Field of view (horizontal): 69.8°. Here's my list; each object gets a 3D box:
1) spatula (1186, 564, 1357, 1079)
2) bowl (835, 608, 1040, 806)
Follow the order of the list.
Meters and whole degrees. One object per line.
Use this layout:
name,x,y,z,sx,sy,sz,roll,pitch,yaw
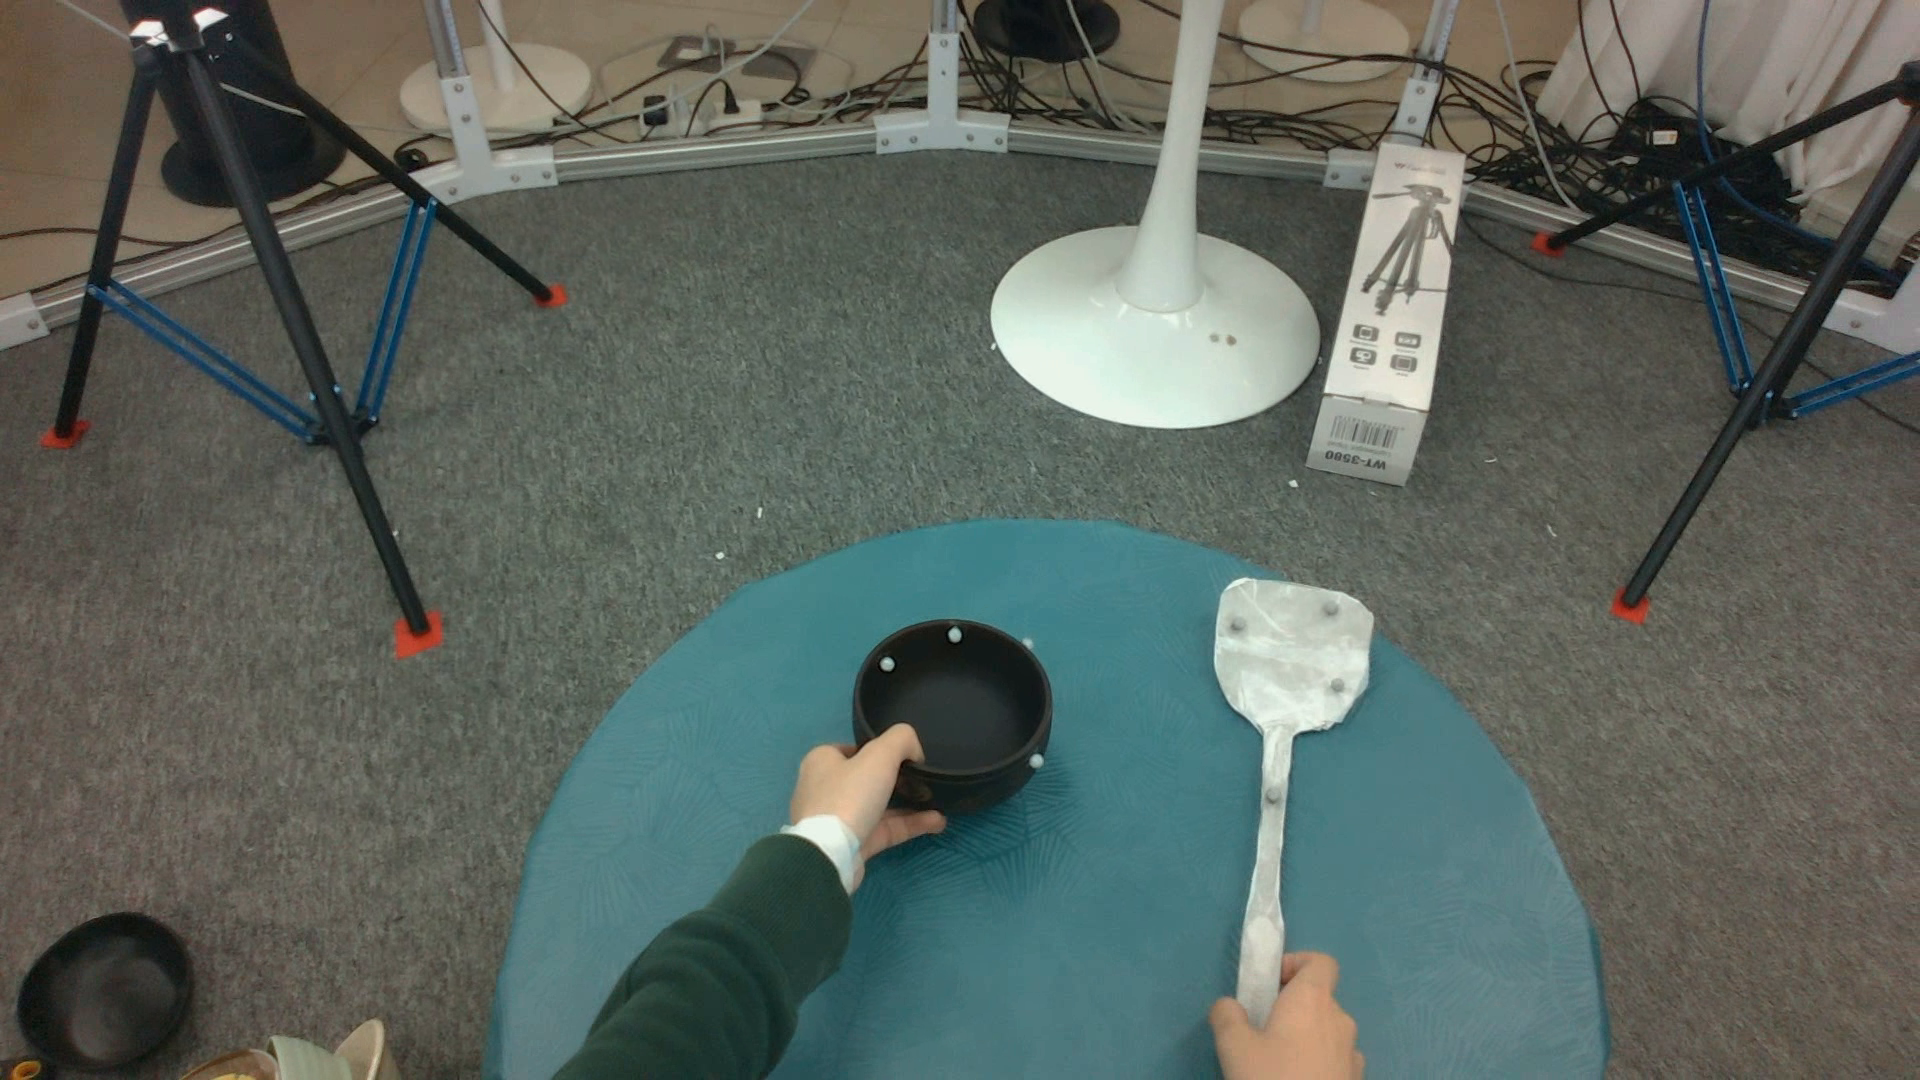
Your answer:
spatula,0.167,0.156,0.788,0.098,0.044,0.367,12,45,8
bowl,-0.013,0.105,0.805,0.118,0.069,0.118,1,45,-1
